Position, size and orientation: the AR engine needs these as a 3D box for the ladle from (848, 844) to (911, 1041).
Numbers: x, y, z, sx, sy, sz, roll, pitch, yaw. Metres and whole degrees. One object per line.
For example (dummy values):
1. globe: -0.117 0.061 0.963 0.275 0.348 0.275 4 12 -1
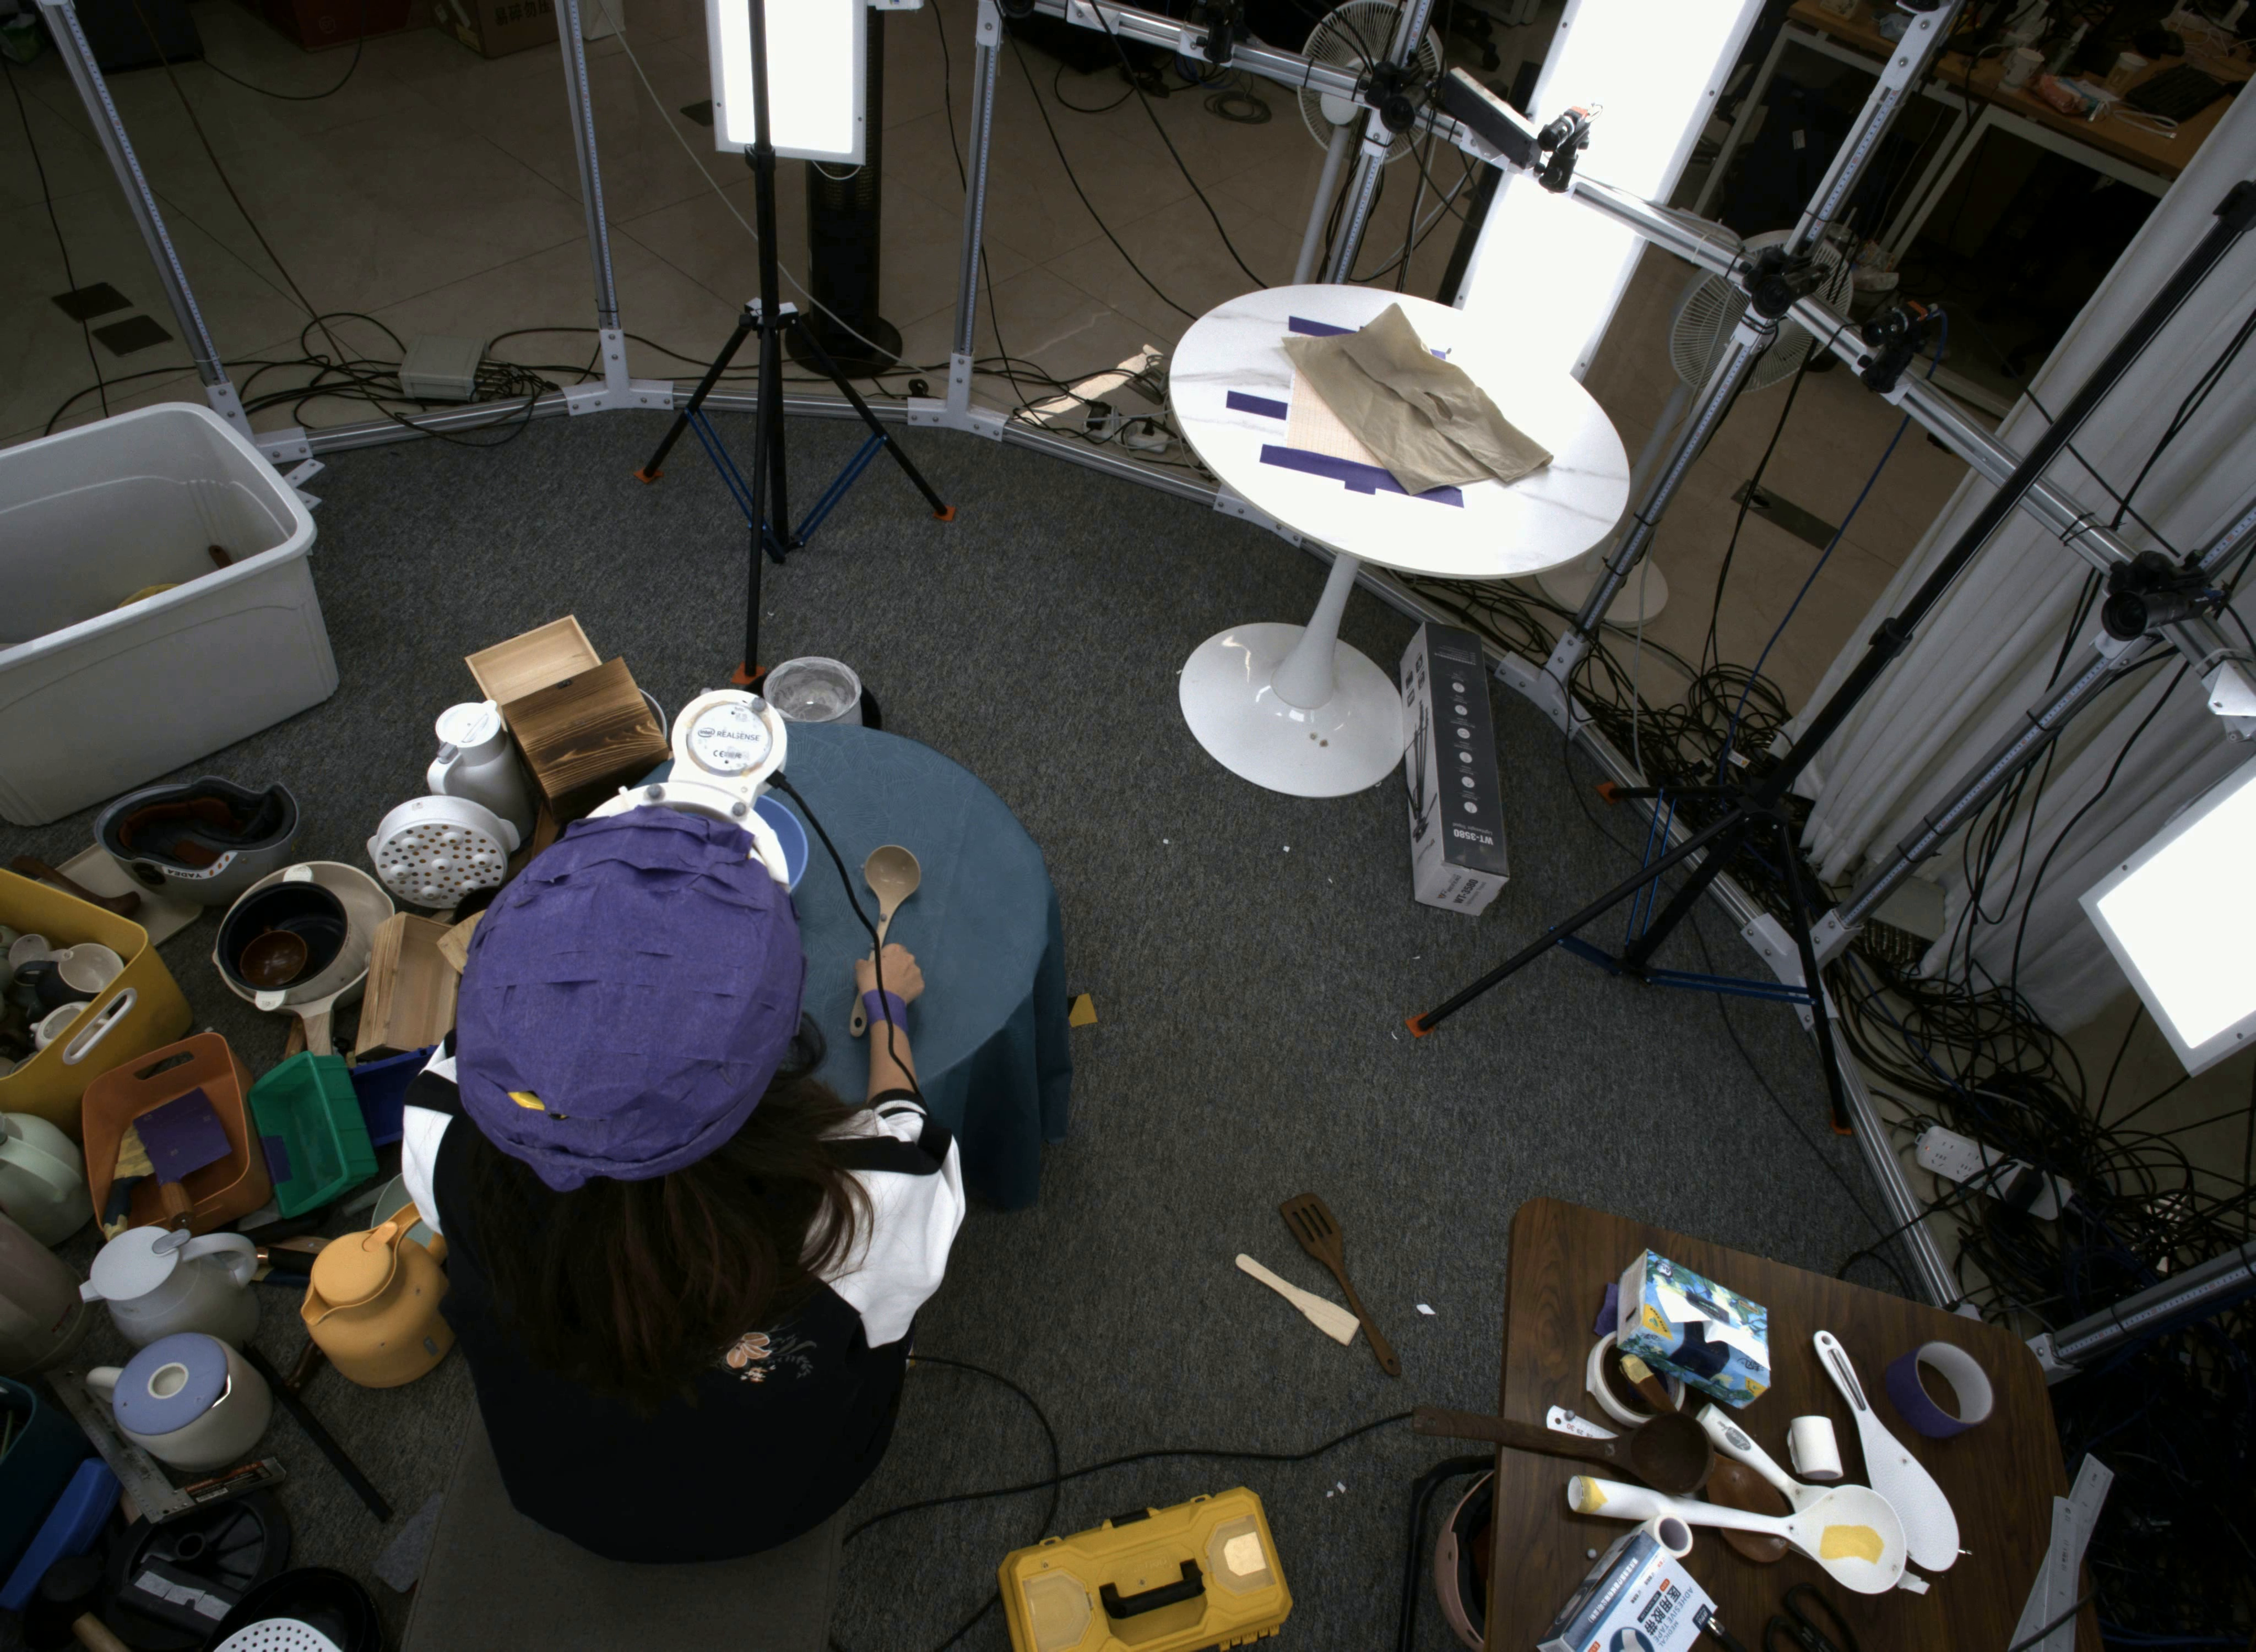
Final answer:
1. ladle: -0.317 0.133 1.599 0.072 0.074 0.250 7 52 -5

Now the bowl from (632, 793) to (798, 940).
1. bowl: -0.507 0.063 1.593 0.196 0.097 0.193 9 51 -10
